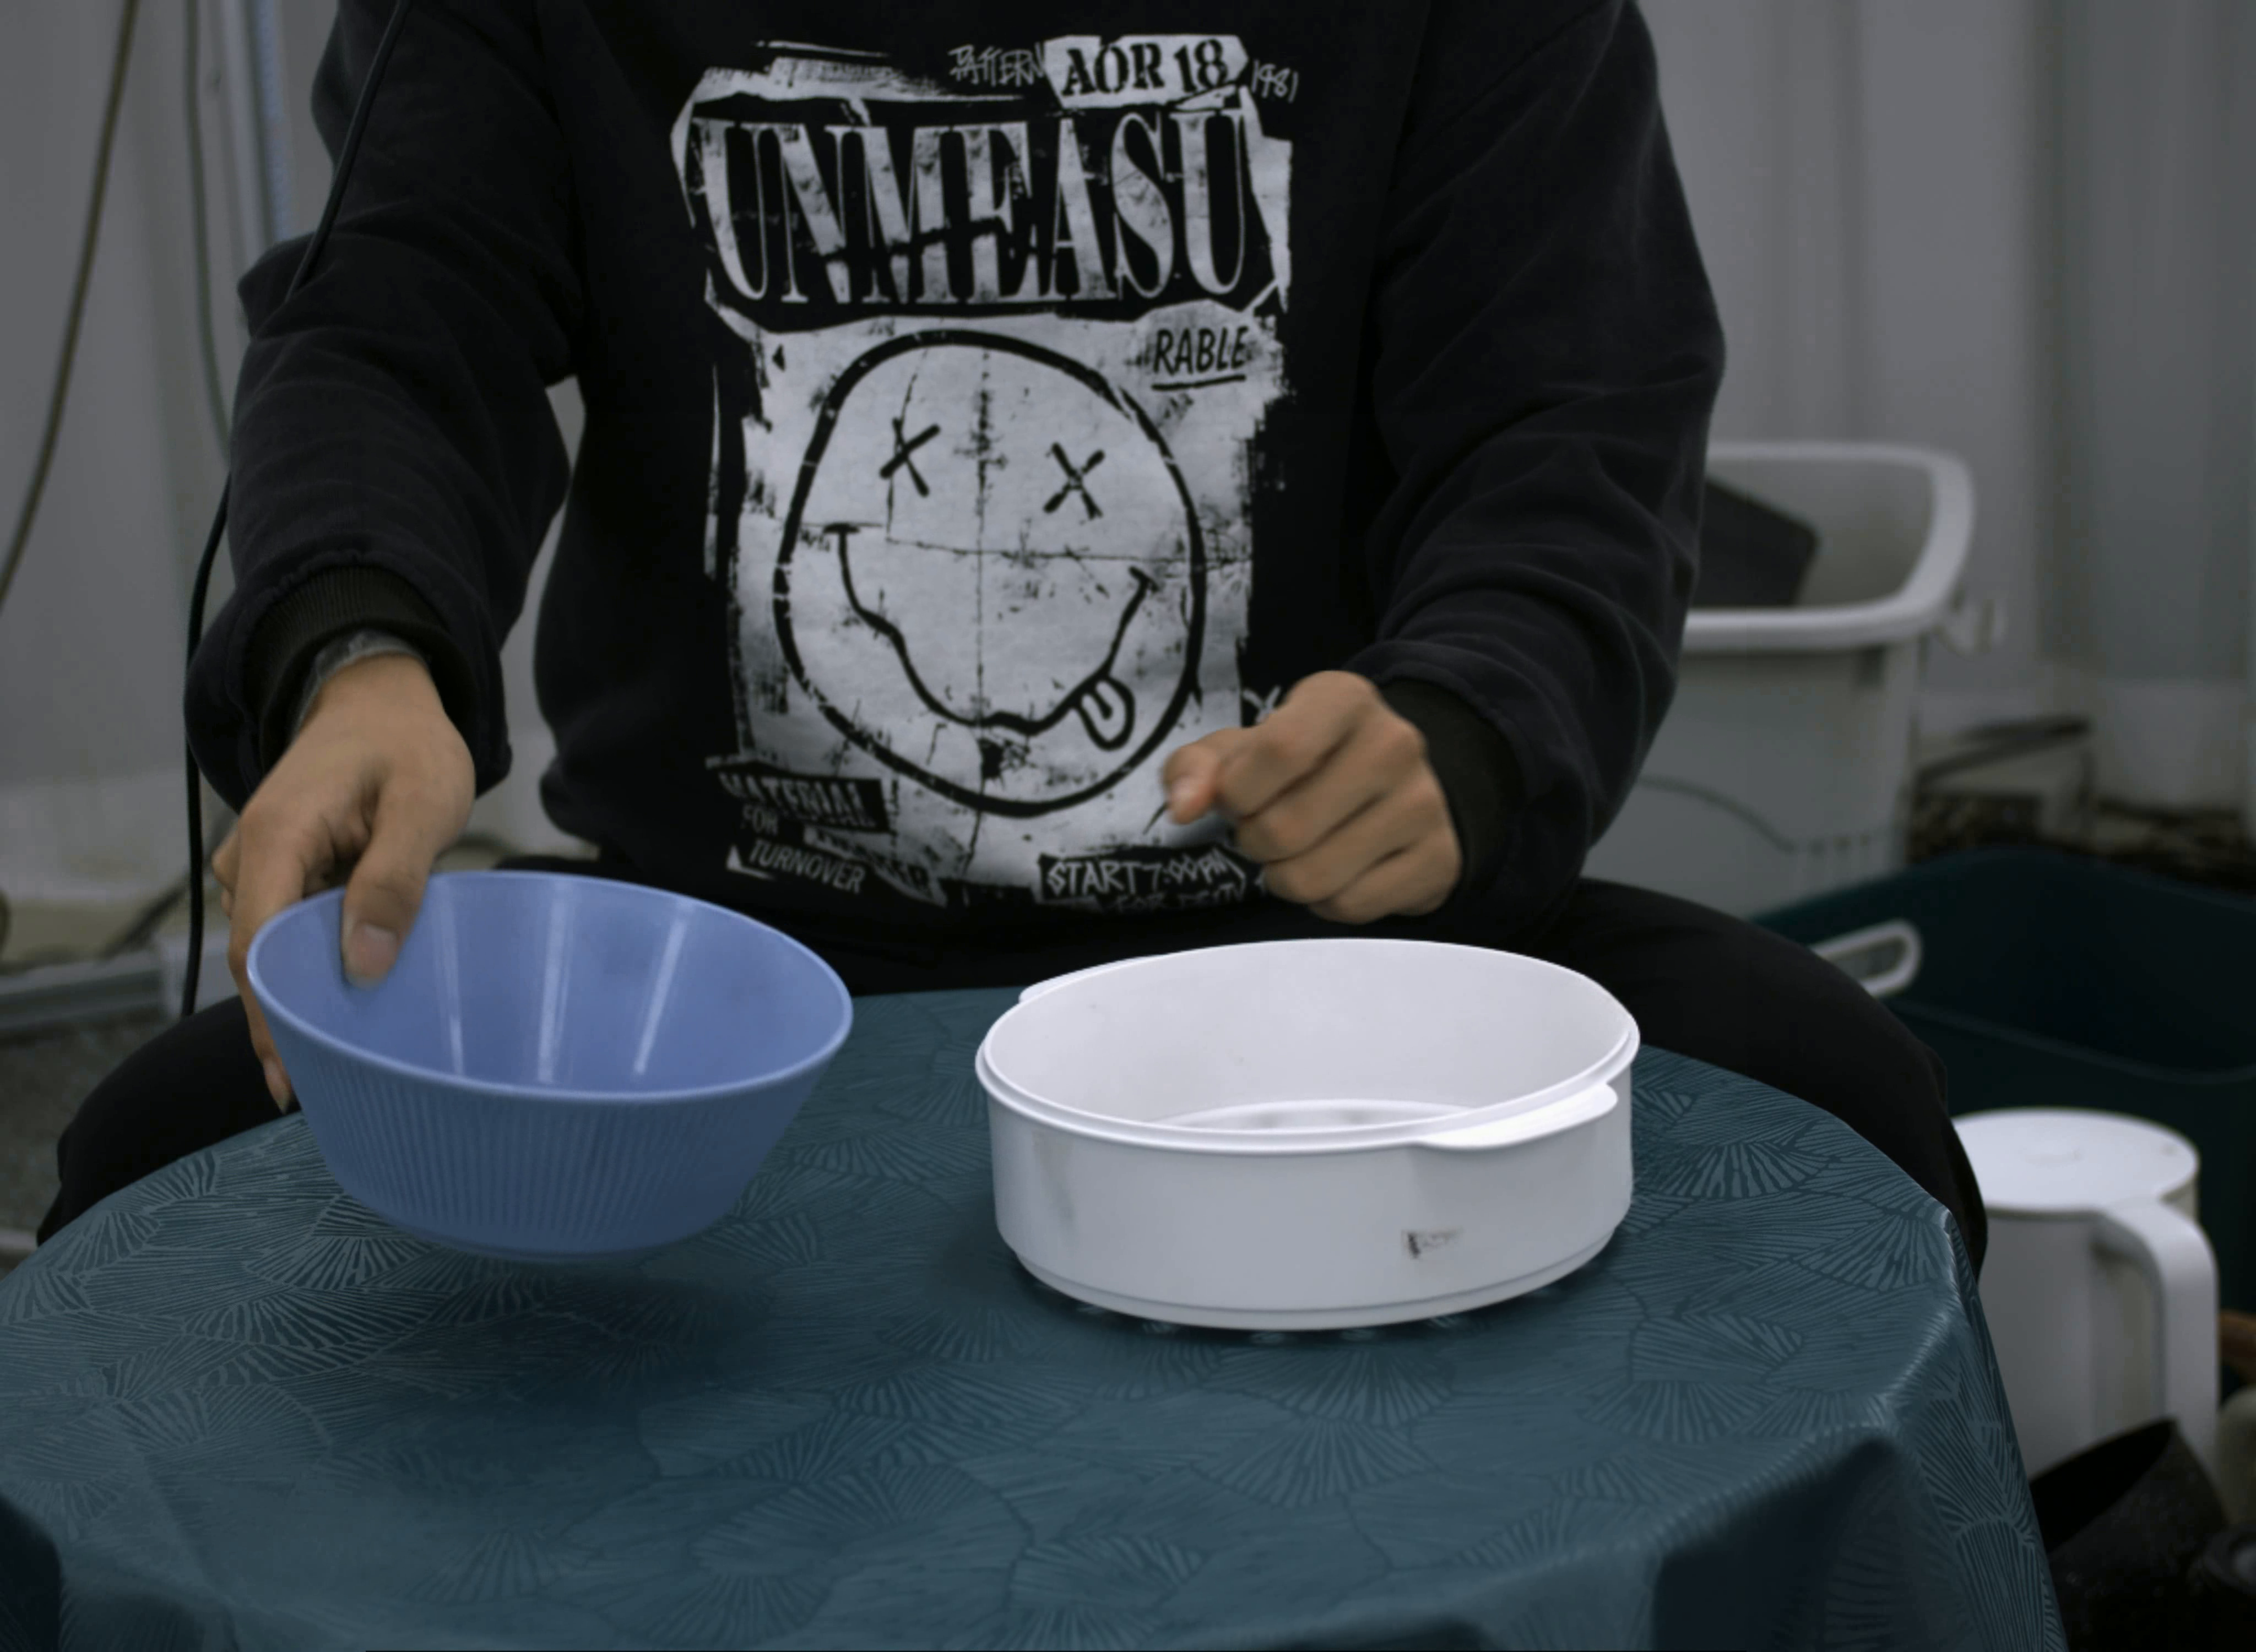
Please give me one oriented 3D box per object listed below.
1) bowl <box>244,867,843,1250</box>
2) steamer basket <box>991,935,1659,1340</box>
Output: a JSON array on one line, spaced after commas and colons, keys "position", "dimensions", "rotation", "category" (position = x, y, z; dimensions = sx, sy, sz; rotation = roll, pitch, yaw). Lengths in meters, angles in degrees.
[{"position": [-0.174, 0.072, 1.601], "dimensions": [0.175, 0.070, 0.177], "rotation": [8, 18, -3], "category": "bowl"}, {"position": [0.059, 0.094, 1.649], "dimensions": [0.201, 0.069, 0.232], "rotation": [-14, 21, -36], "category": "steamer basket"}]
